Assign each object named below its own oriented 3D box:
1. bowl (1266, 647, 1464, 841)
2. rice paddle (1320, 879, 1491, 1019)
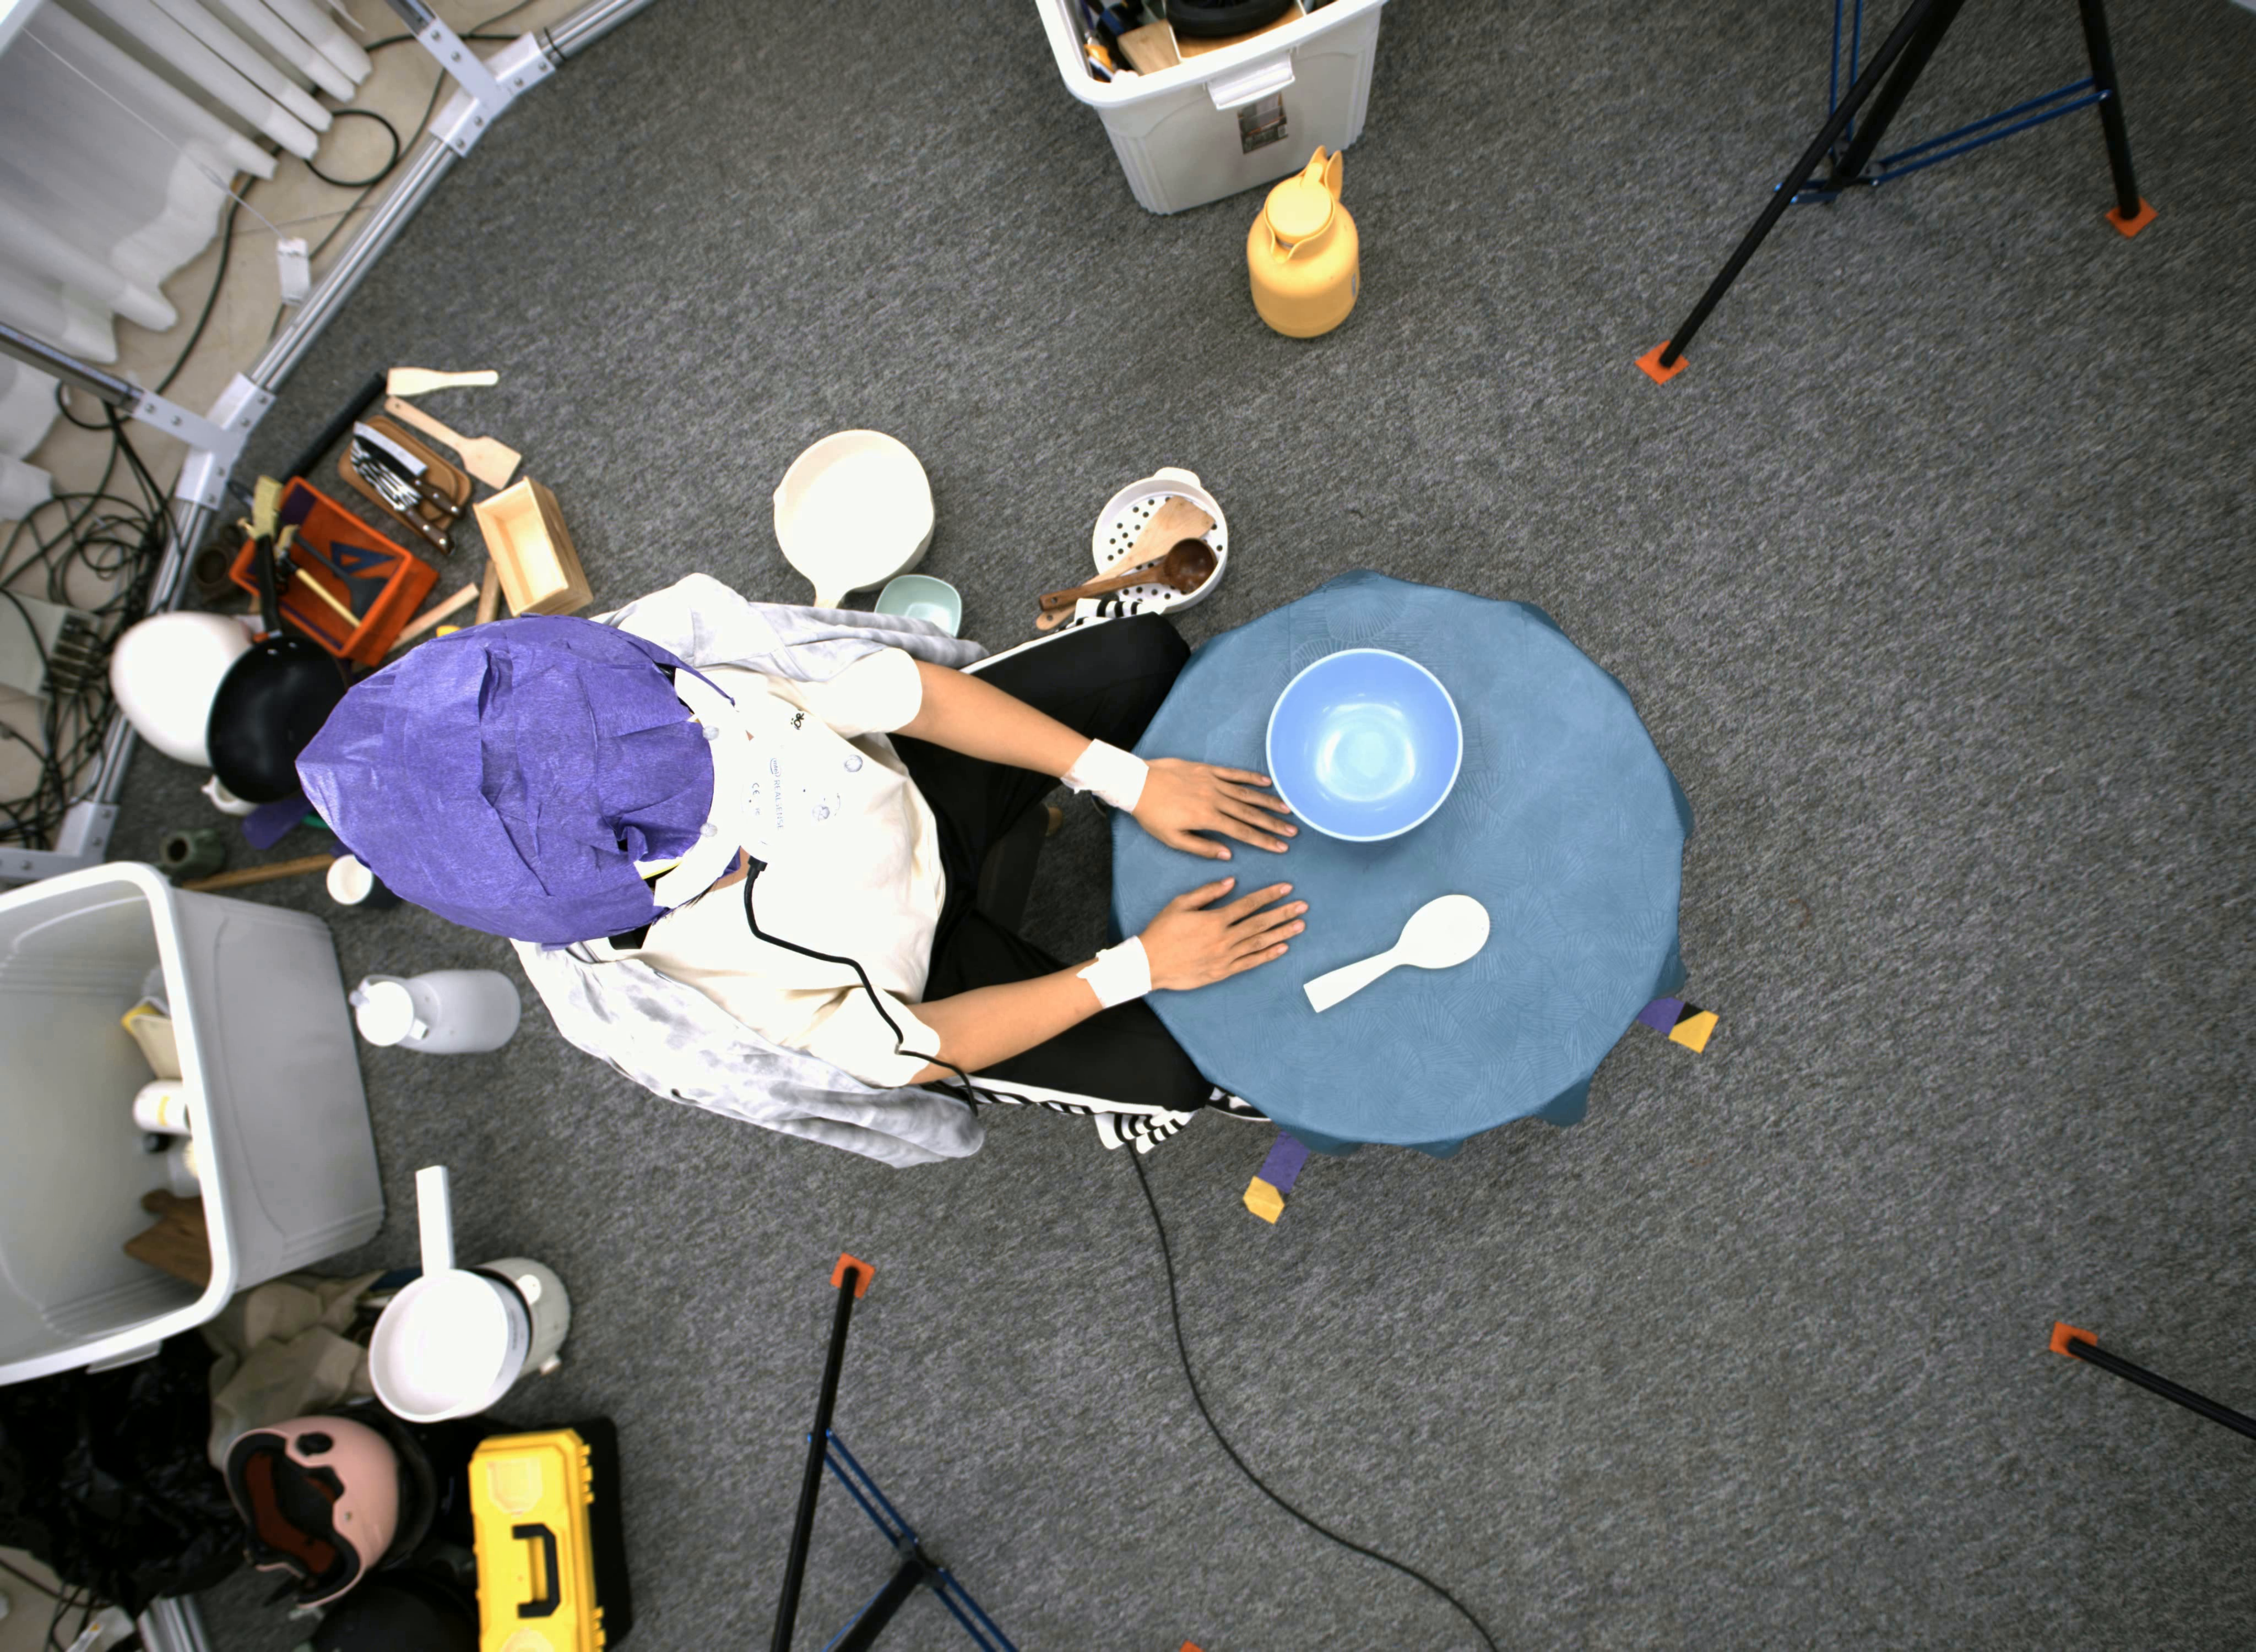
[{"bbox_3d":[0.243,-0.080,1.422,0.197,0.095,0.196,-1,87,9],"label":"bowl"},{"bbox_3d":[0.290,0.127,1.441,0.207,0.029,0.068,-38,68,10],"label":"rice paddle"}]
